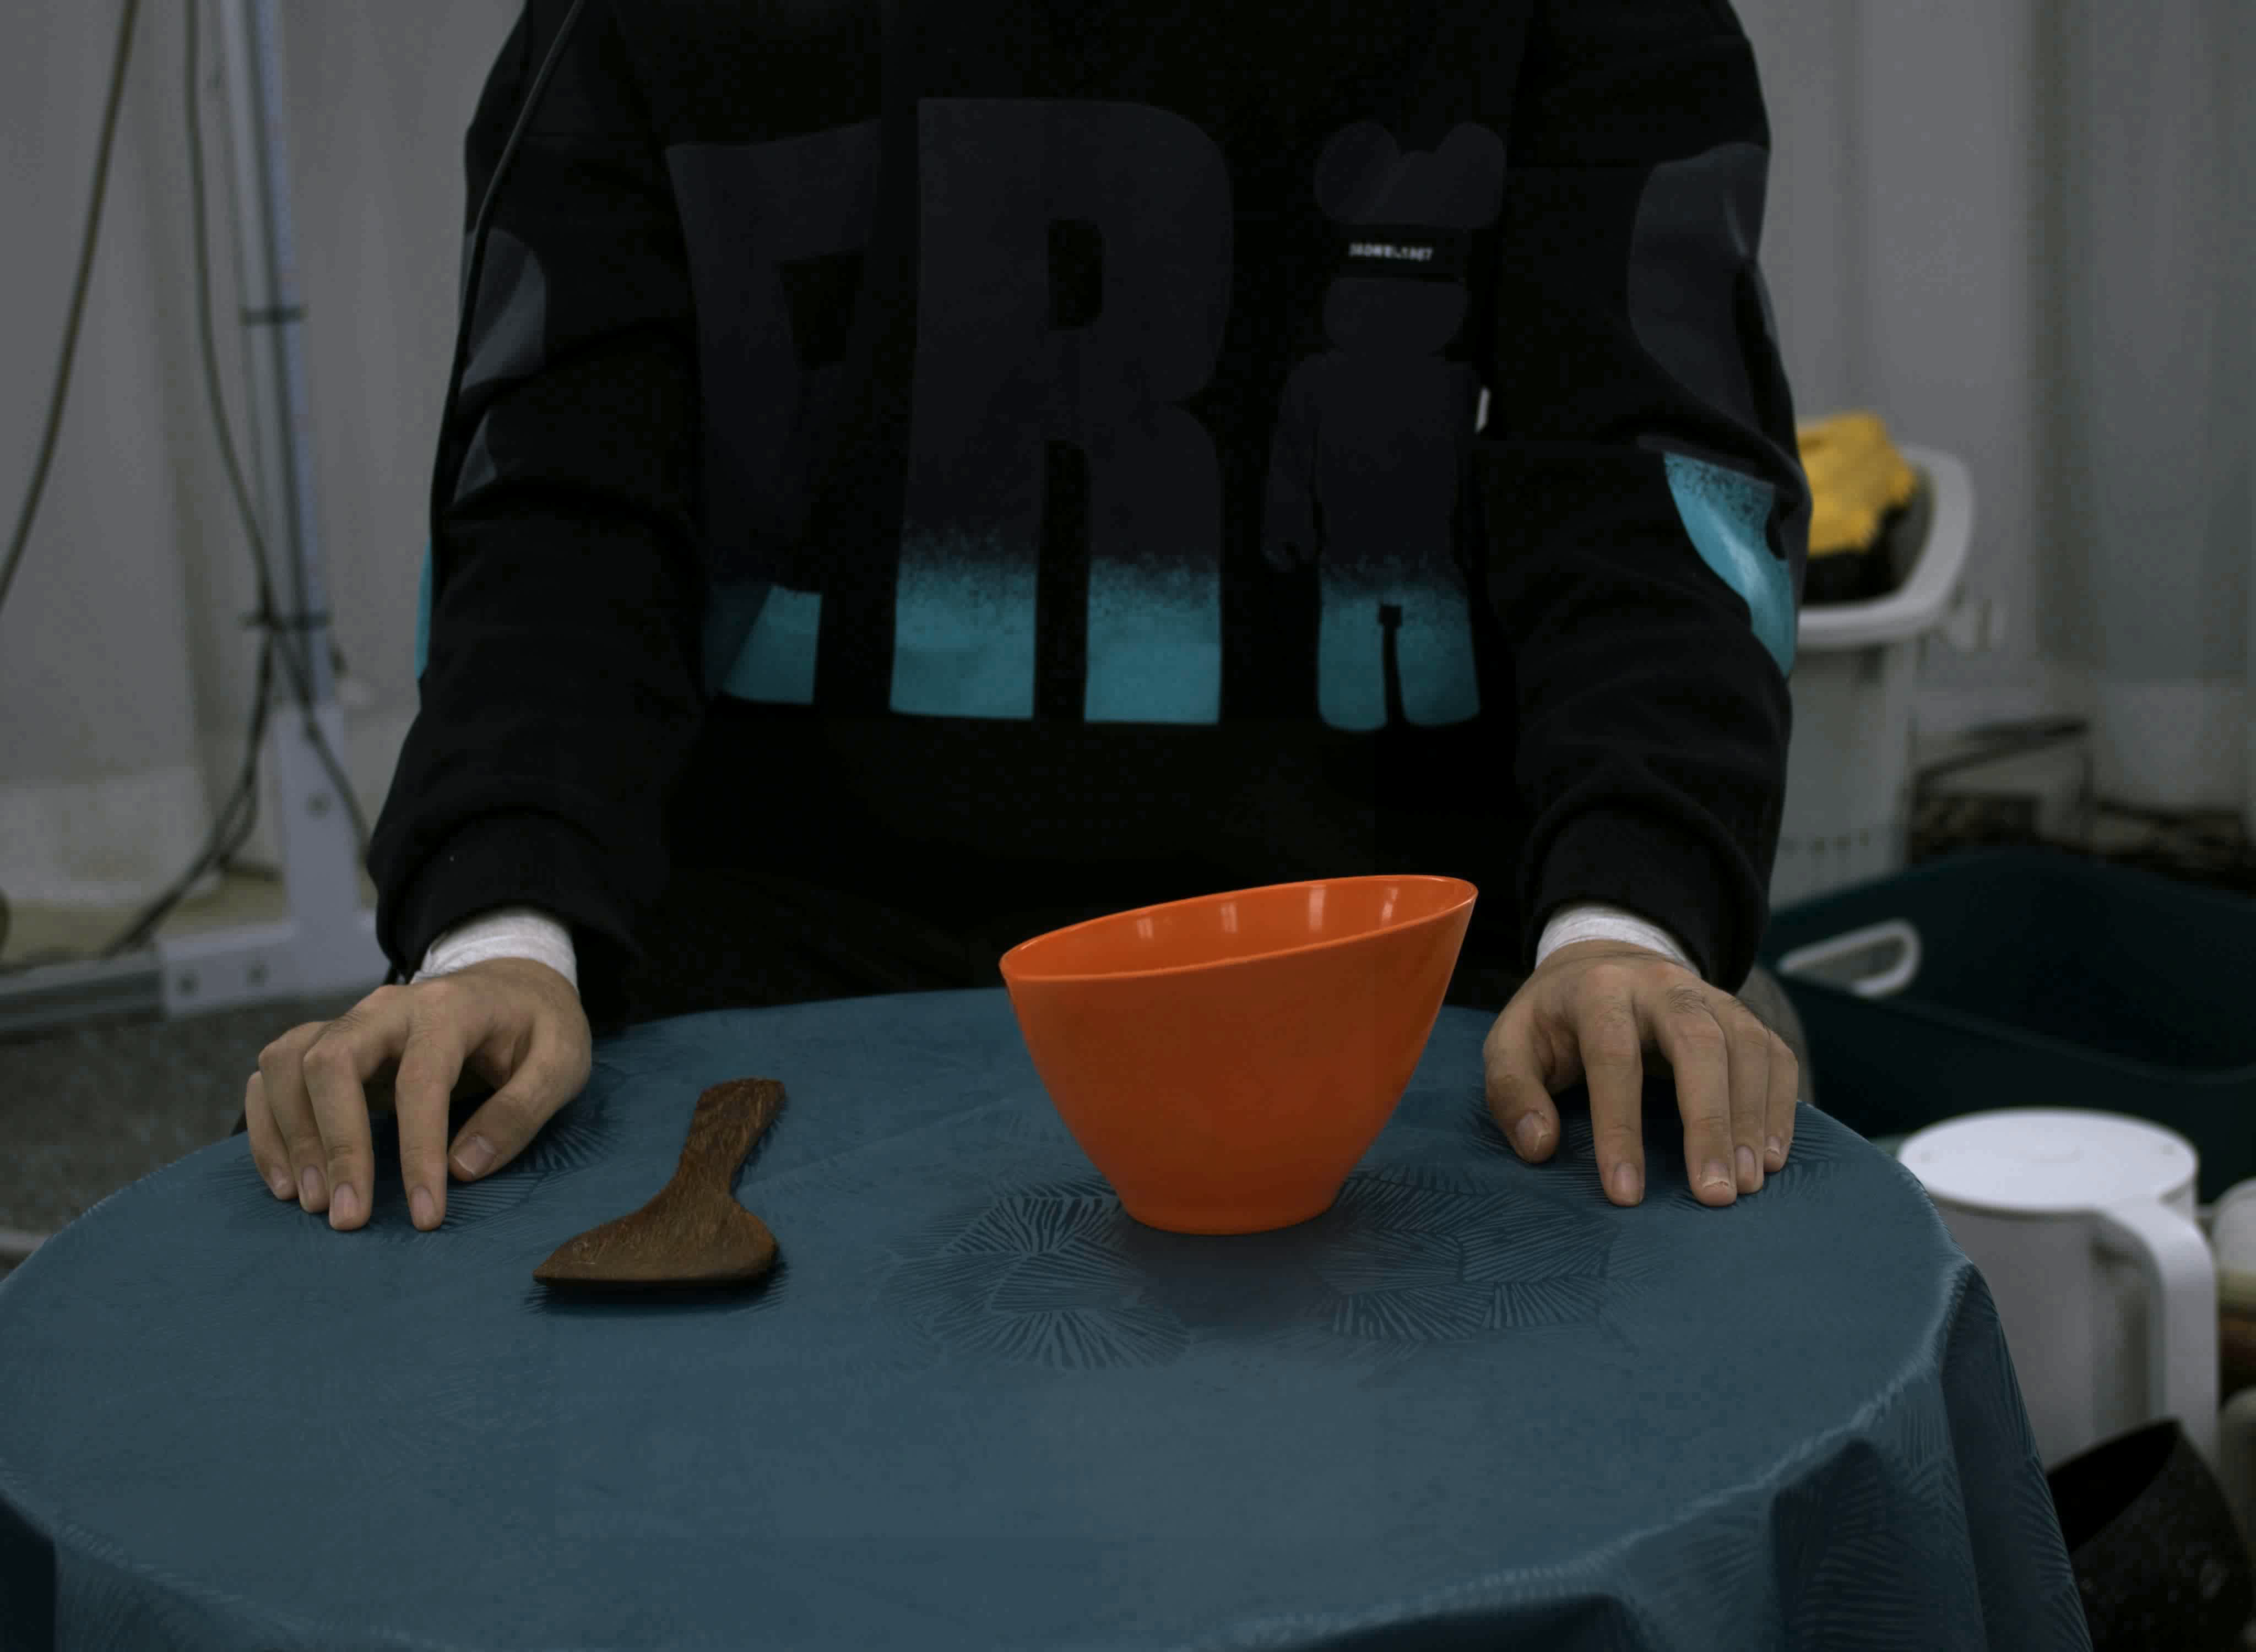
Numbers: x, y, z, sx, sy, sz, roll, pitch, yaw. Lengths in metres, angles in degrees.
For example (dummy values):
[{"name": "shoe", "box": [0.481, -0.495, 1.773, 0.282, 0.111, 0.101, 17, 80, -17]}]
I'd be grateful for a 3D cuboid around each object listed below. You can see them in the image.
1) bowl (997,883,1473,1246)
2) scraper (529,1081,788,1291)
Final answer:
[{"name": "bowl", "box": [0.035, 0.072, 1.679, 0.147, 0.104, 0.149, -4, 13, 1]}, {"name": "scraper", "box": [-0.135, 0.114, 1.730, 0.075, 0.011, 0.212, 0, 14, 5]}]
